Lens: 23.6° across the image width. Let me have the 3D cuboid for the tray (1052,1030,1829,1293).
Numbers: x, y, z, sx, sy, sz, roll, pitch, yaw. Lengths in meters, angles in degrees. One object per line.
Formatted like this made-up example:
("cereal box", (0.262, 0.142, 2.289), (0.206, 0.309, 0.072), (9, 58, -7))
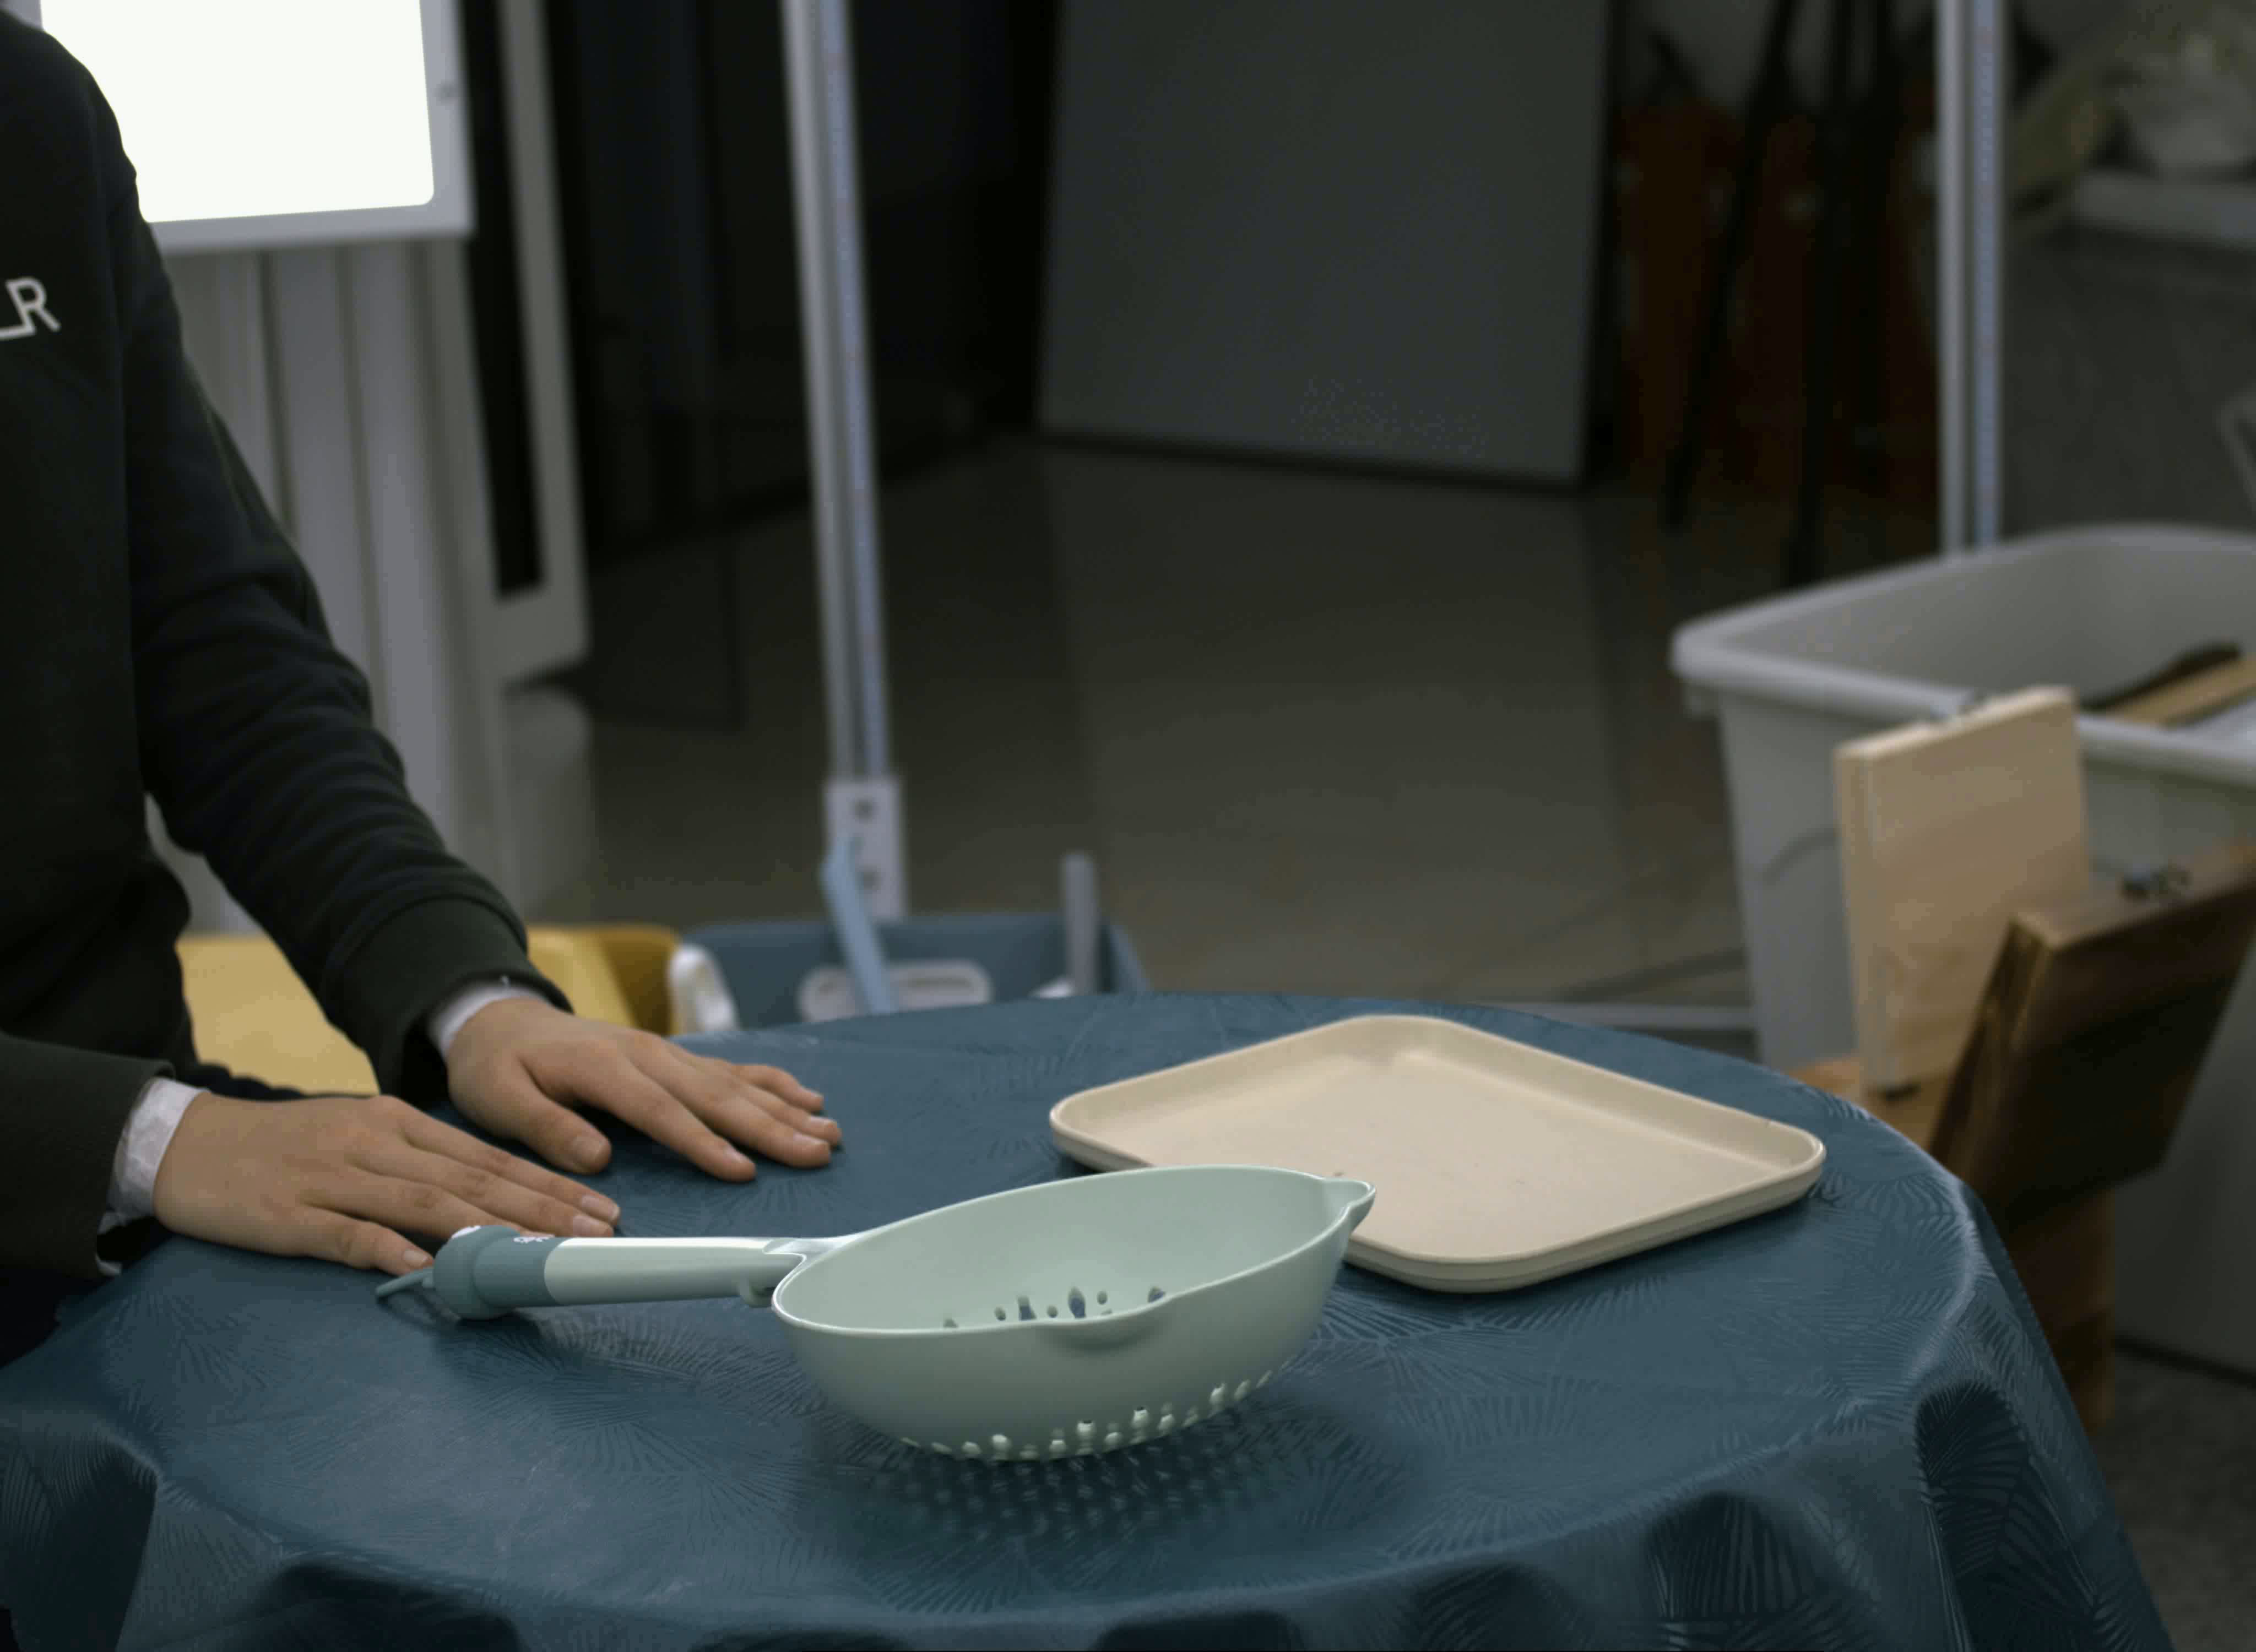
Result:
("tray", (0.100, 0.108, 1.760), (0.167, 0.017, 0.242), (-13, 16, -34))

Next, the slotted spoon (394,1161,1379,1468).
("slotted spoon", (-0.091, 0.137, 1.602), (0.361, 0.076, 0.166), (6, 16, 38))
